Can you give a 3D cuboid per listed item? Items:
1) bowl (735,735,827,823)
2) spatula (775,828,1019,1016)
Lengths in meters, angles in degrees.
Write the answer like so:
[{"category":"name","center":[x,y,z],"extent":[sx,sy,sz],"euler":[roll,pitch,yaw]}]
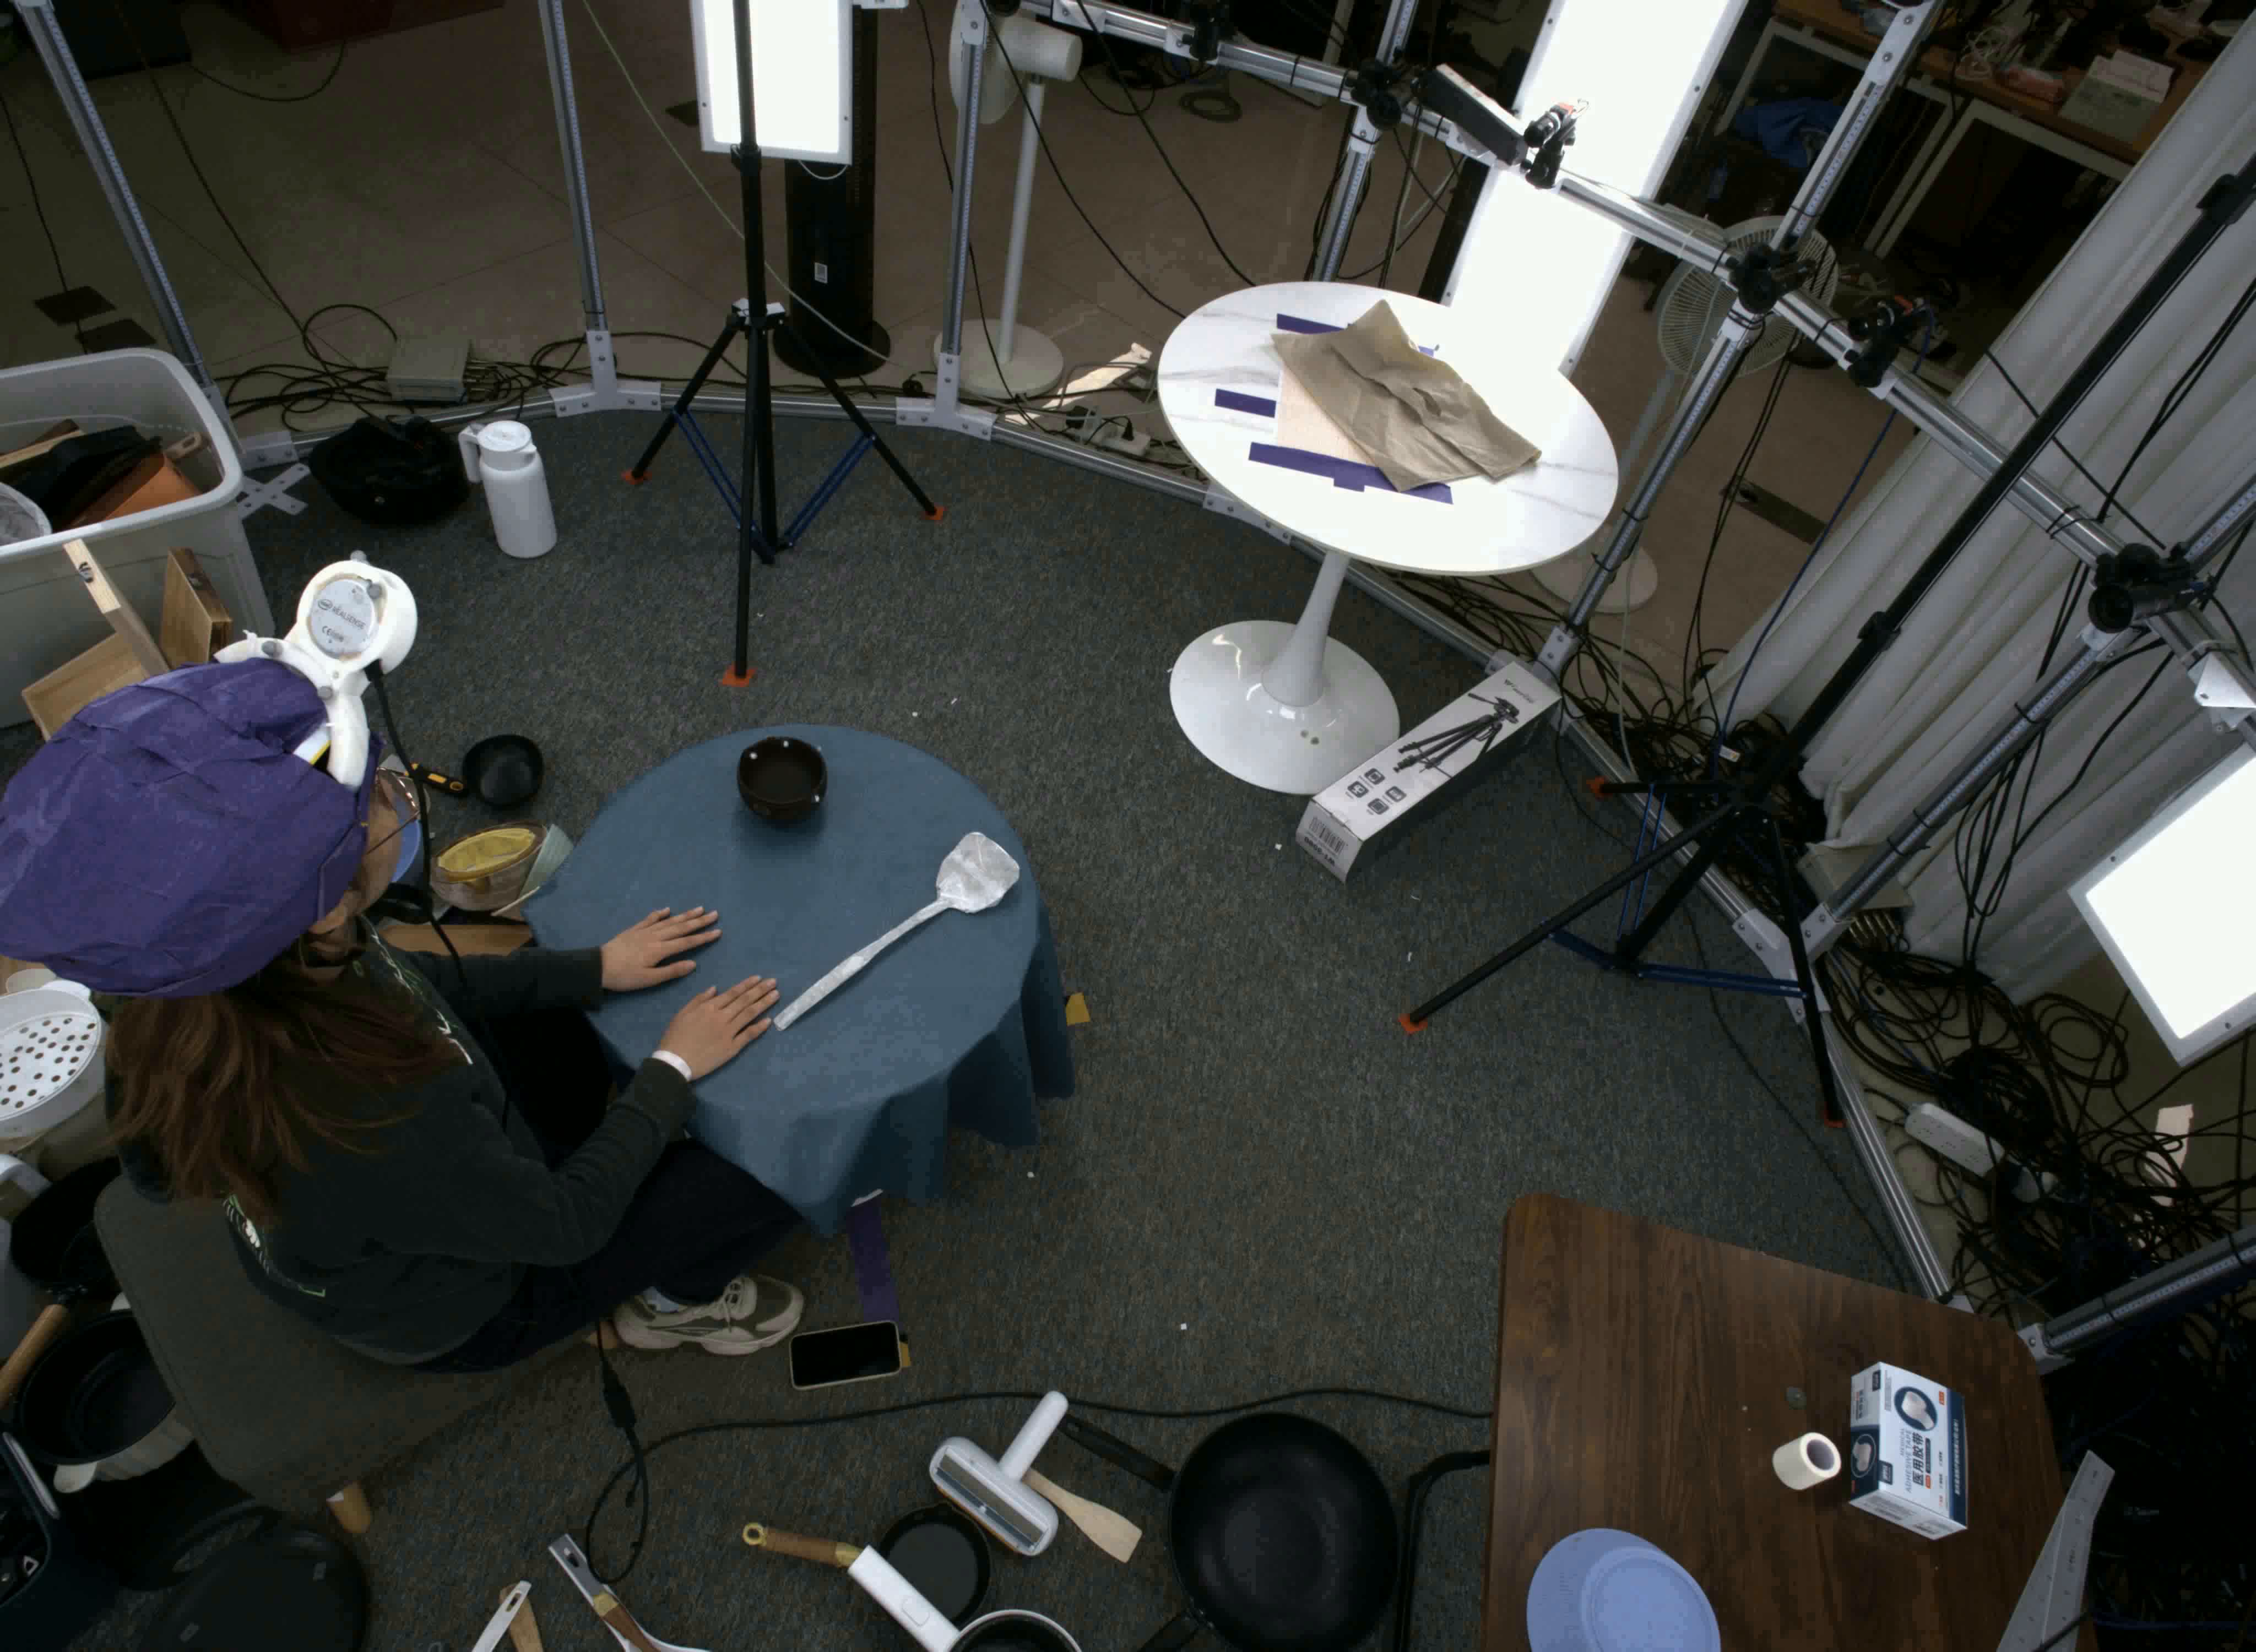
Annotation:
[{"category":"bowl","center":[-0.458,-0.055,1.716],"extent":[0.117,0.071,0.116],"euler":[6,53,-6]},{"category":"spatula","center":[-0.293,0.127,1.643],"extent":[0.097,0.045,0.365],"euler":[43,55,16]}]
